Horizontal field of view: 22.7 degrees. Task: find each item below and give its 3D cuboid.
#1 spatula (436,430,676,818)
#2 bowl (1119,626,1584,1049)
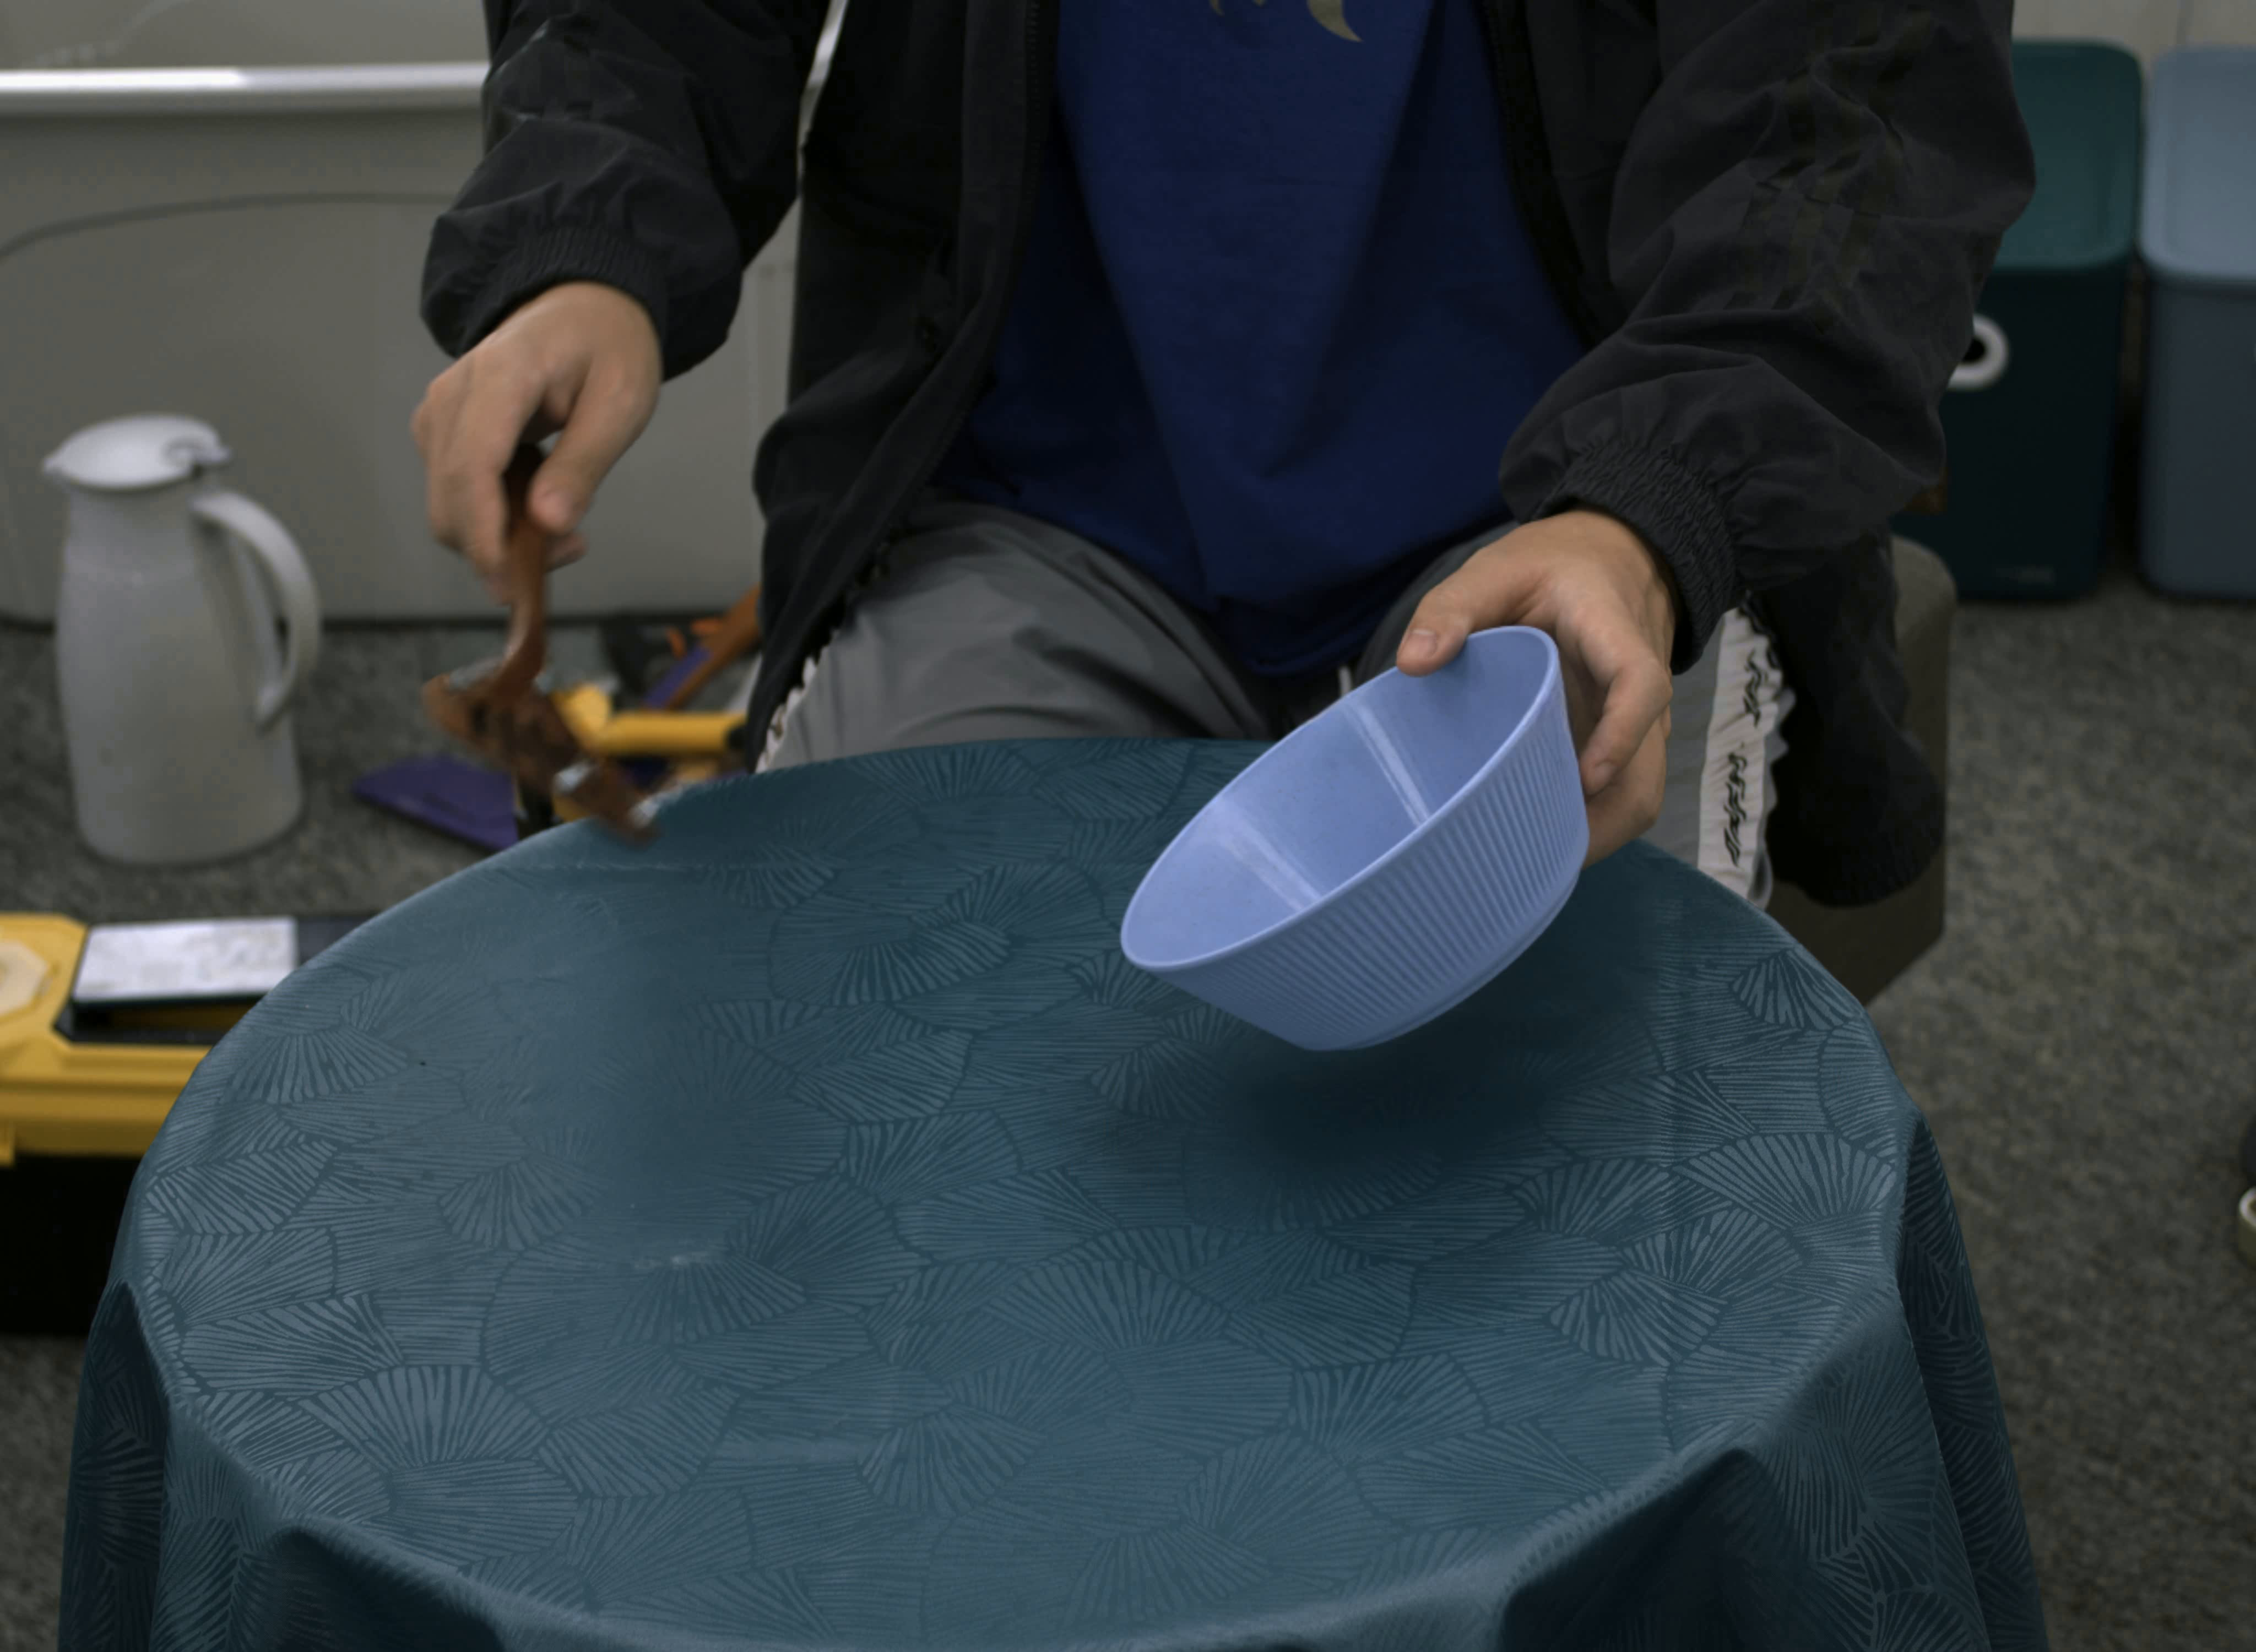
[{"bbox_3d":[-0.205,-0.077,1.970,0.085,0.024,0.390,27,15,-15],"label":"spatula"},{"bbox_3d":[0.085,0.013,1.868,0.175,0.070,0.178,-34,15,10],"label":"bowl"}]
